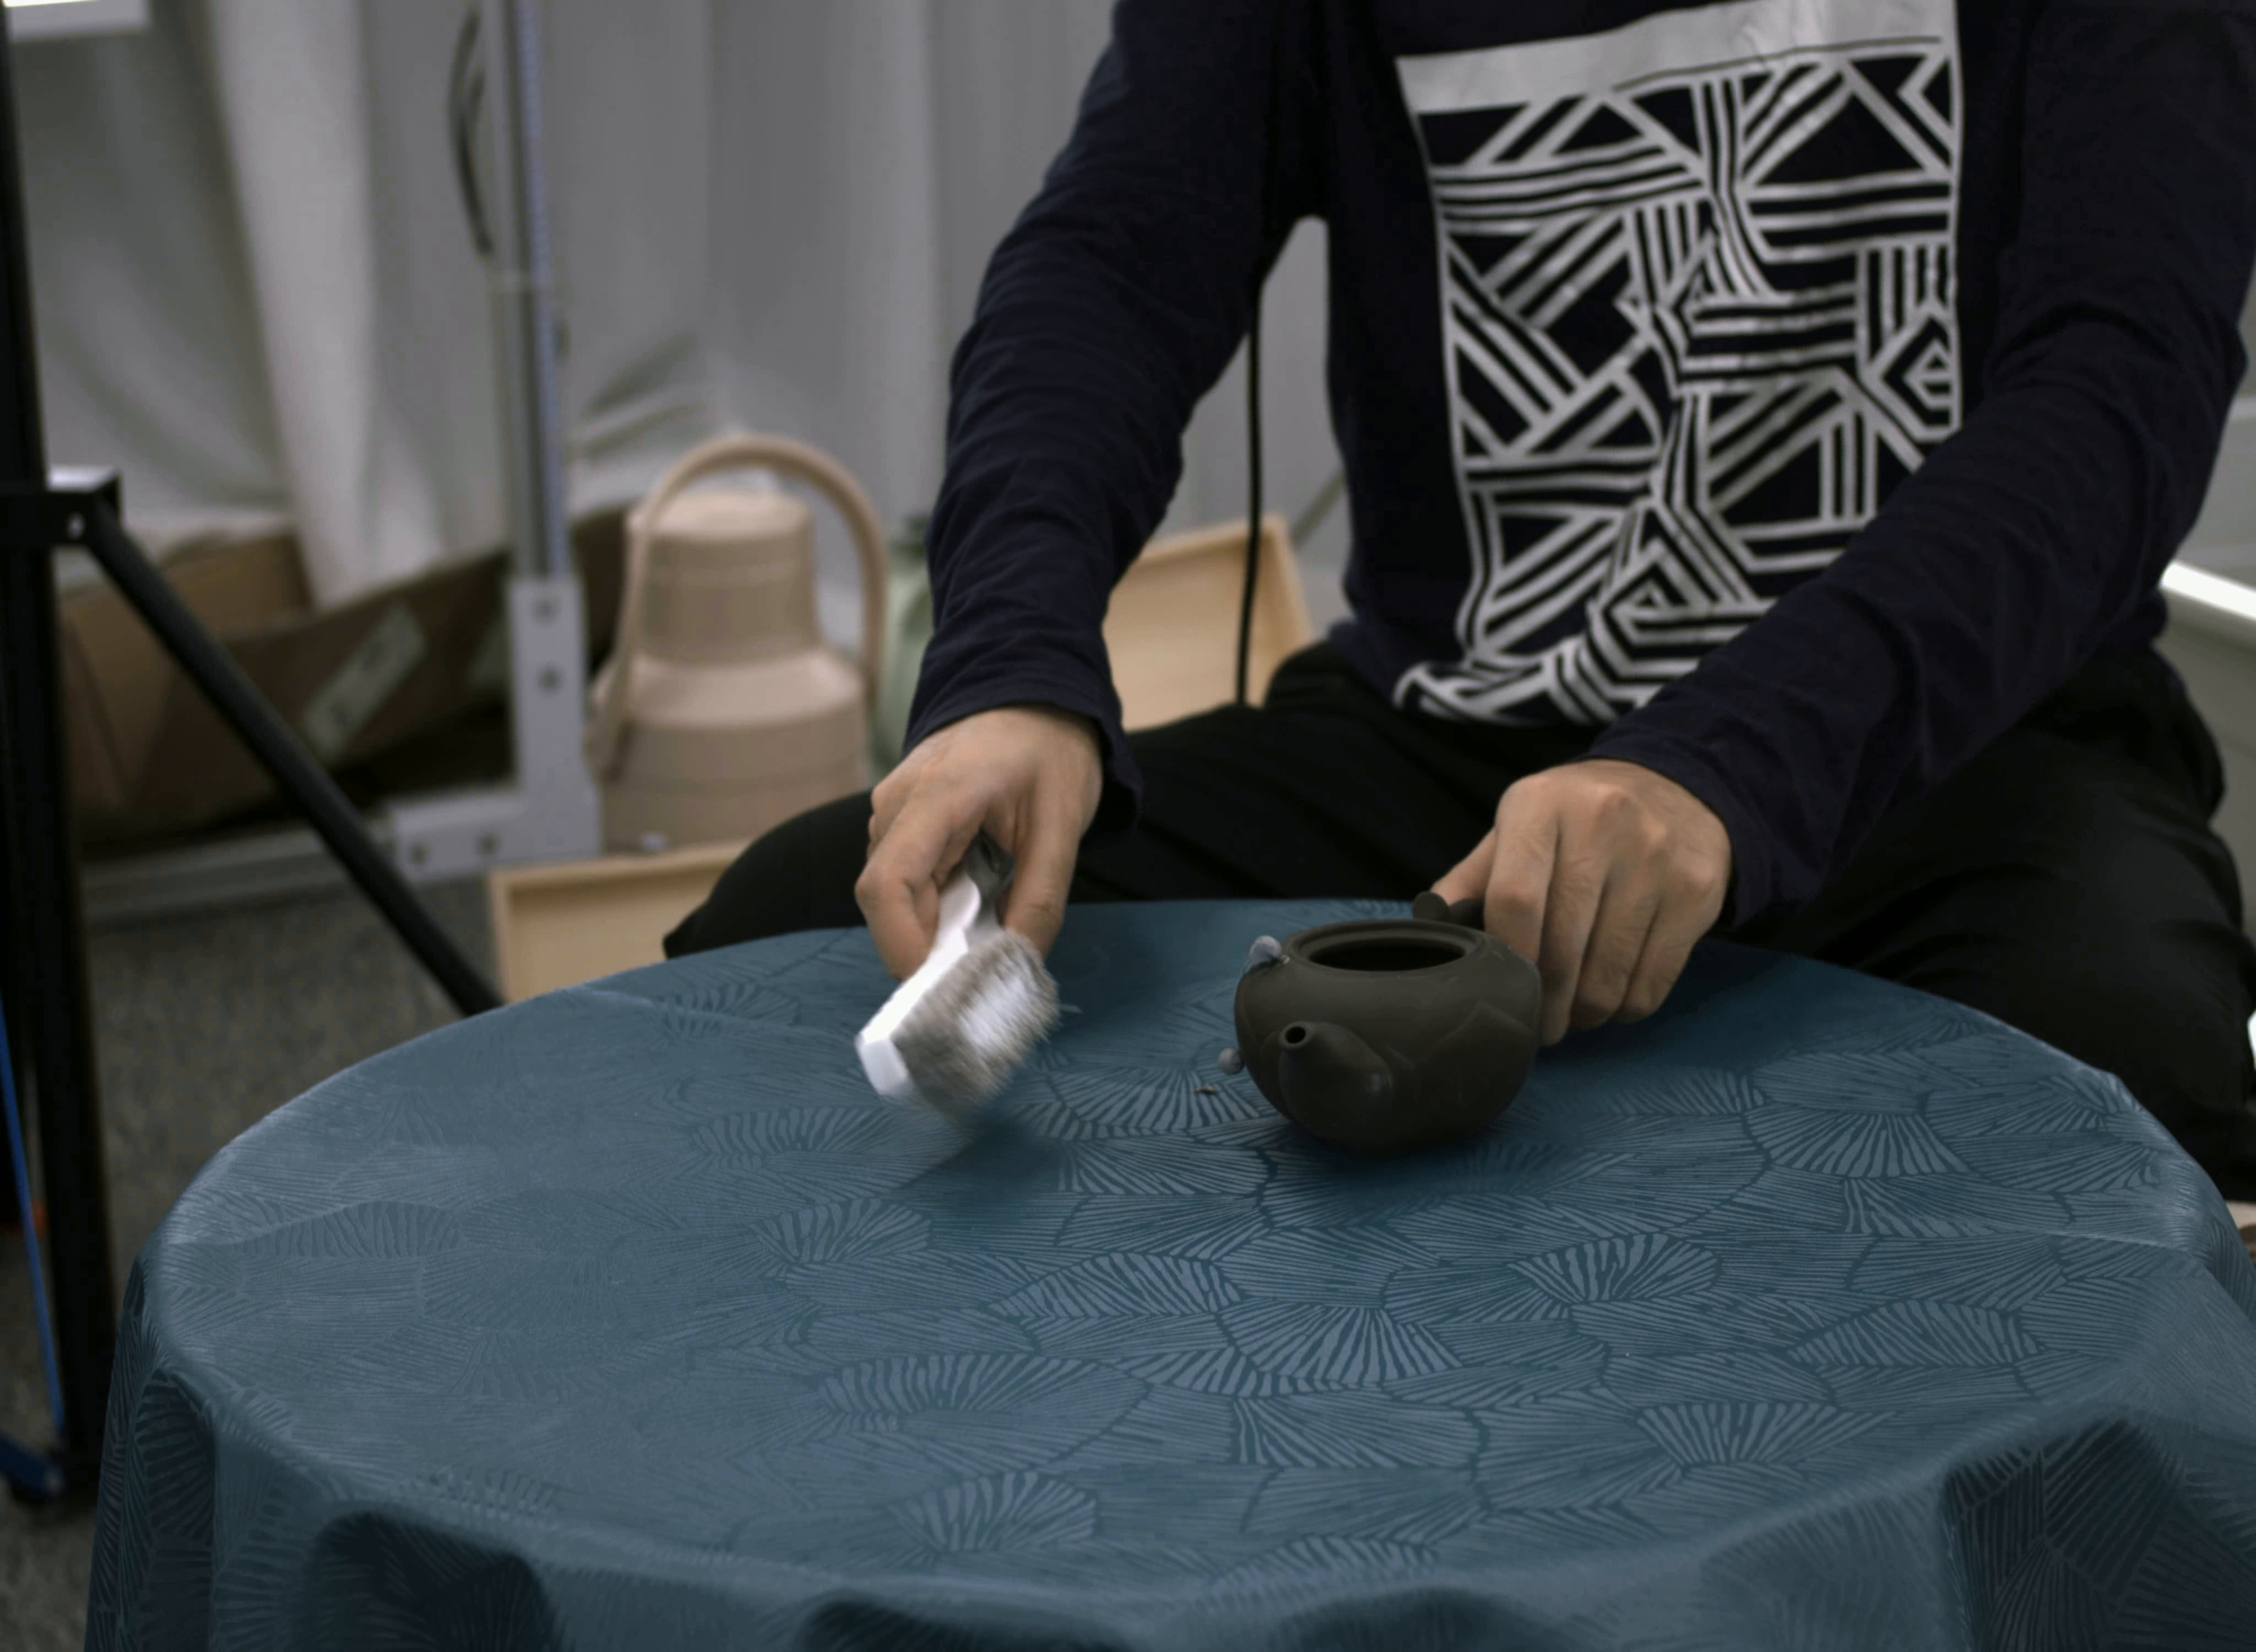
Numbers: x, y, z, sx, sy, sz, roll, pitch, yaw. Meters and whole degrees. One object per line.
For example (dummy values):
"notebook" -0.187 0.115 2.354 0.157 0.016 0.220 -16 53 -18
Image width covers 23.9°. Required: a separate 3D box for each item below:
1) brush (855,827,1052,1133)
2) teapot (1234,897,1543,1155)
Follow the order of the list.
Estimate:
"brush" -0.039 0.035 1.679 0.050 0.034 0.243 -34 10 17
"teapot" 0.080 0.061 1.602 0.094 0.064 0.151 5 16 28
